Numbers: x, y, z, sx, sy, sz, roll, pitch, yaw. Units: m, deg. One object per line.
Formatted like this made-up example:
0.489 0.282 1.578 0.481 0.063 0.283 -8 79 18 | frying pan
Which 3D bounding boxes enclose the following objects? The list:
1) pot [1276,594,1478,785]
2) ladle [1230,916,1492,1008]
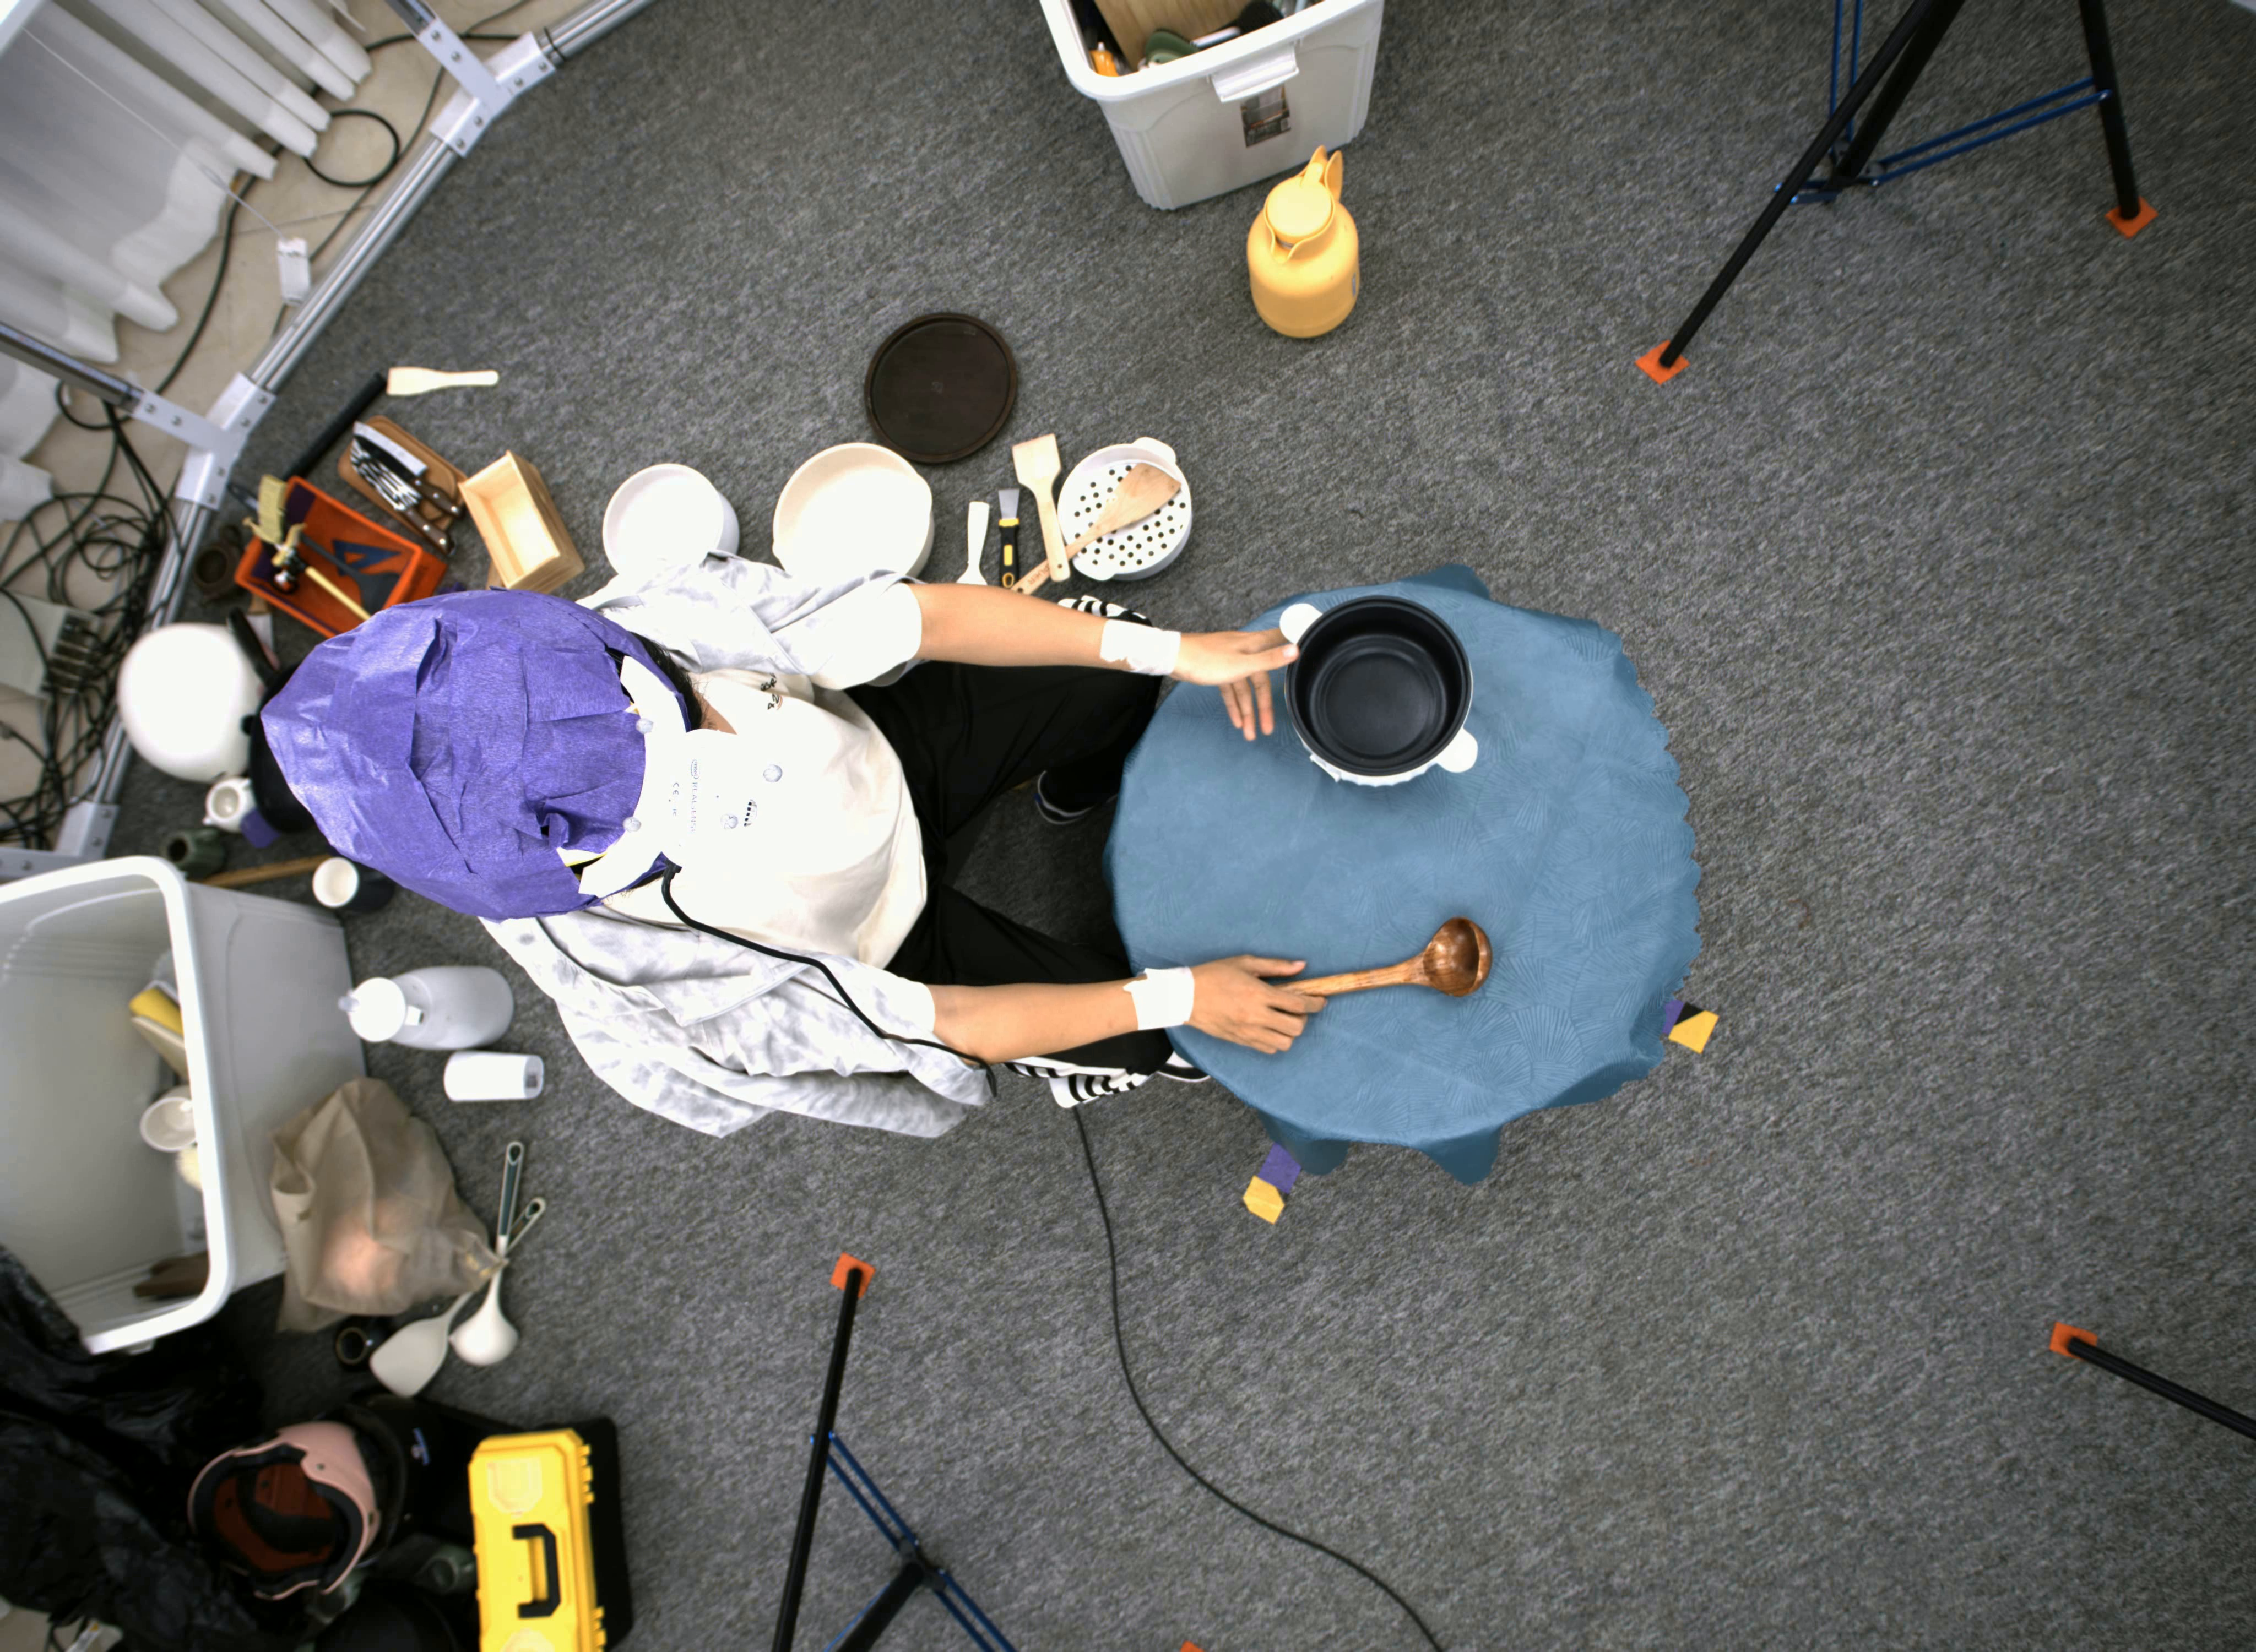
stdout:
0.256 -0.138 1.401 0.239 0.142 0.192 41 97 9 | pot
0.235 0.149 1.421 0.275 0.078 0.080 -9 62 11 | ladle
